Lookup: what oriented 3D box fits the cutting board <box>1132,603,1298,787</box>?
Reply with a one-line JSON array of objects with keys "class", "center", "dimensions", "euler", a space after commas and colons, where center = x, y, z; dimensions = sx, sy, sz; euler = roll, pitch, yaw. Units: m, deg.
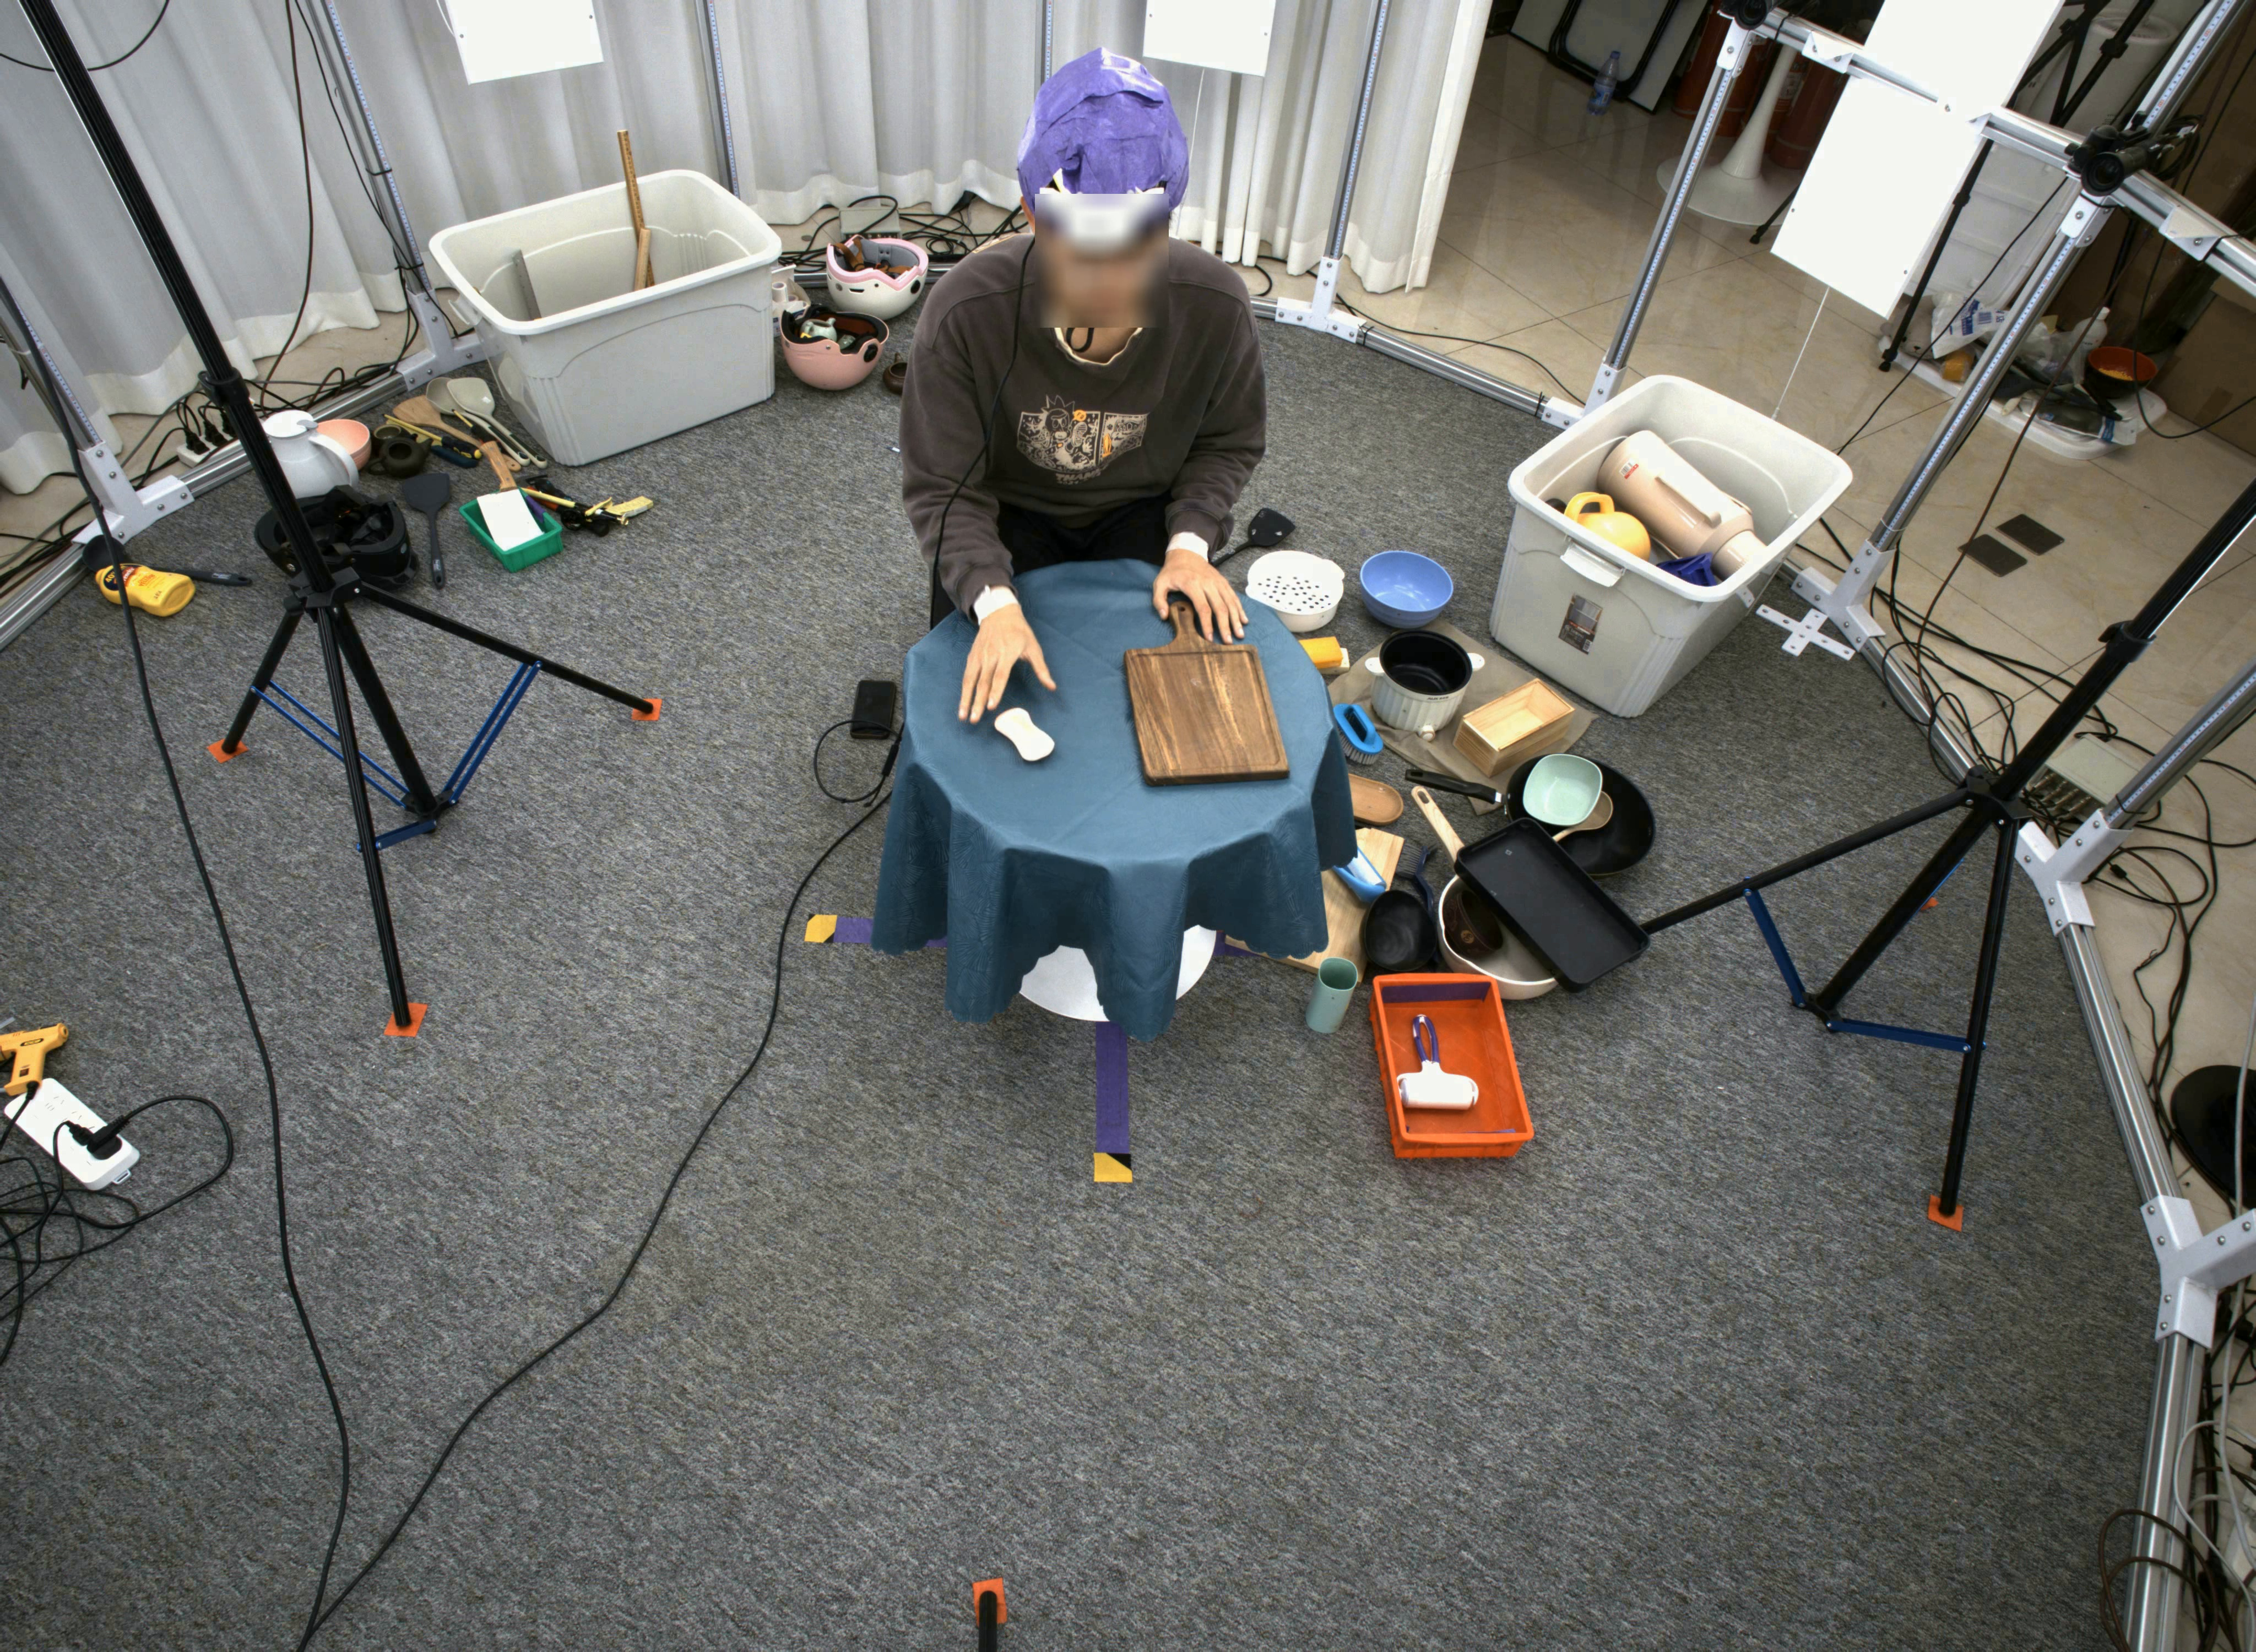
[{"class": "cutting board", "center": [0.113, -0.196, 1.830], "dimensions": [0.201, 0.022, 0.361], "euler": [-3, 49, -6]}]

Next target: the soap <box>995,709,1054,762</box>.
[{"class": "soap", "center": [-0.141, -0.124, 1.746], "dimensions": [0.050, 0.029, 0.096], "euler": [-26, 54, -24]}]
